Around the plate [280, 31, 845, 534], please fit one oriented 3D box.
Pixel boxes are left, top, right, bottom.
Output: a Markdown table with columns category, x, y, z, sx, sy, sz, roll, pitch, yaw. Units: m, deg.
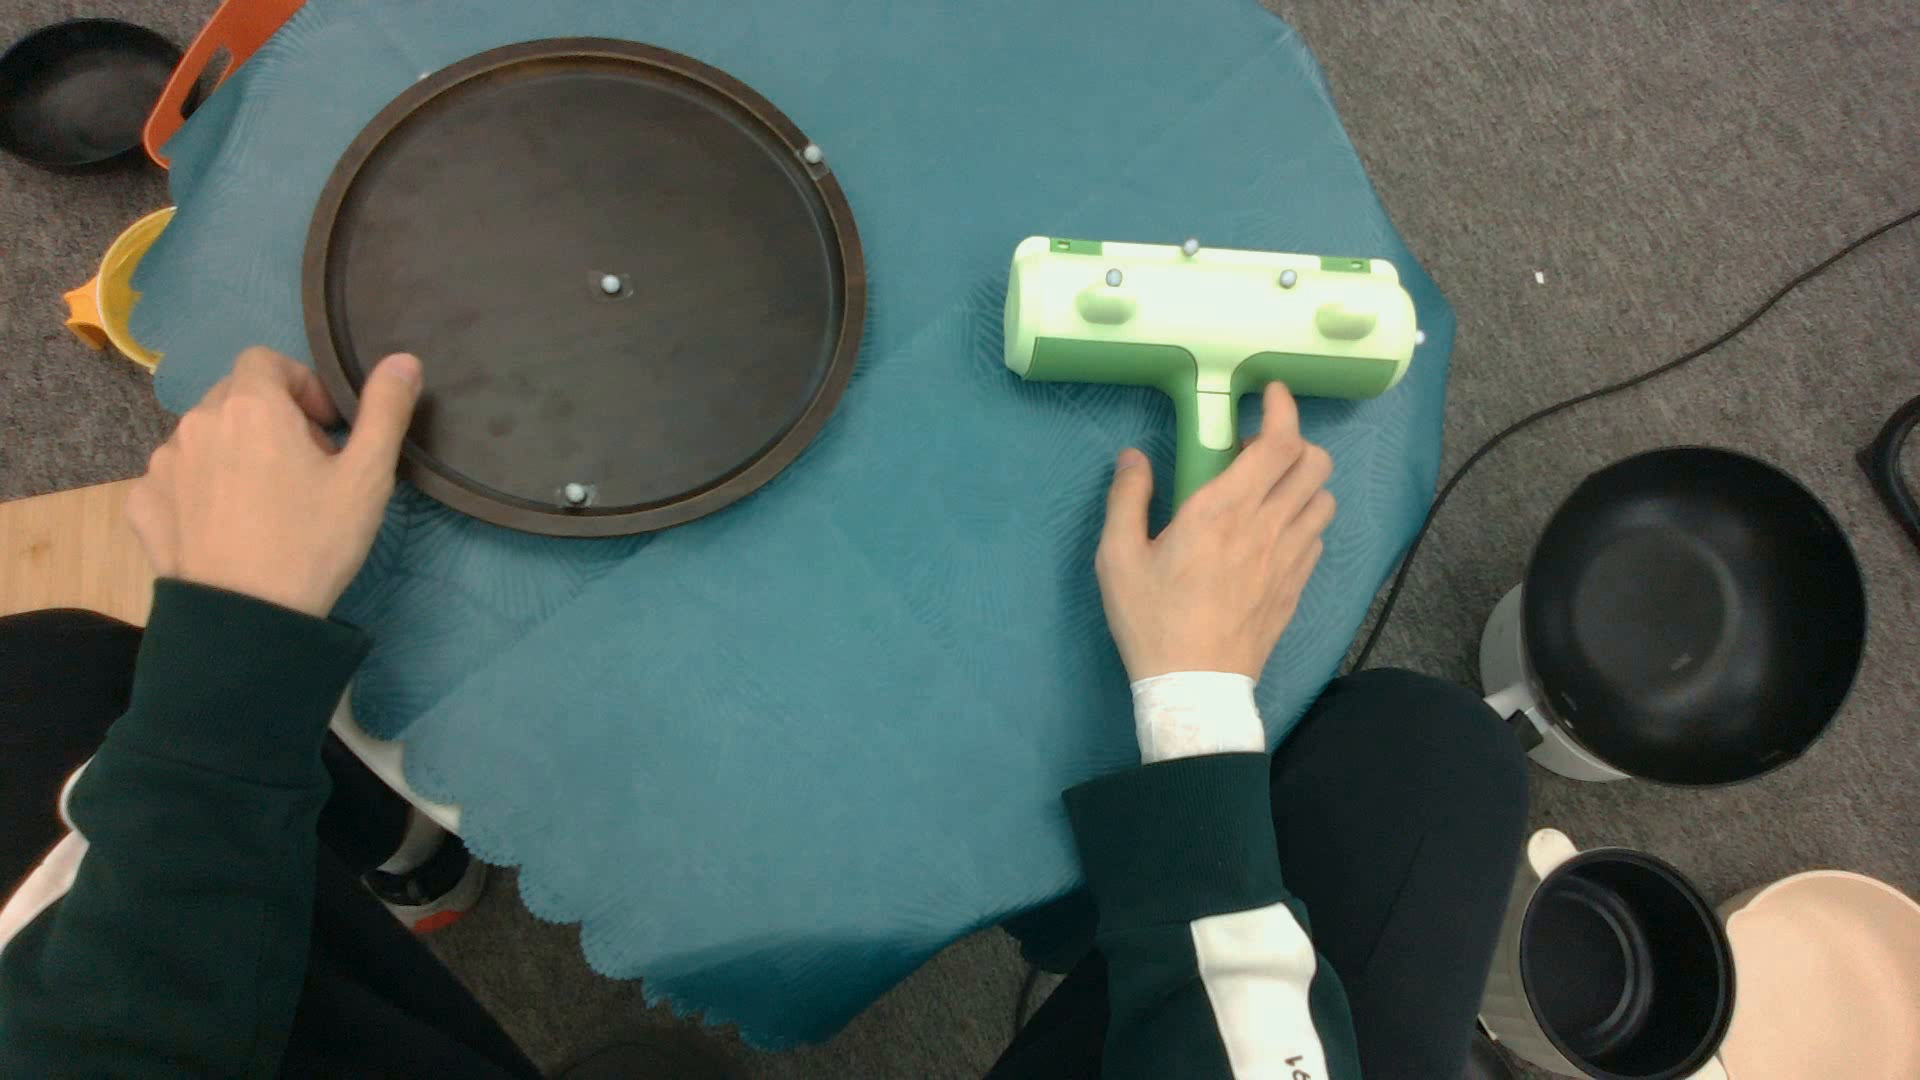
| category | x | y | z | sx | sy | sz | roll | pitch | yaw |
| --- | --- | --- | --- | --- | --- | --- | --- | --- | --- |
| plate | -0.181 | -0.123 | 0.645 | 0.255 | 0.029 | 0.255 | 3 | 73 | -10 |

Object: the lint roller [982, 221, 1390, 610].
| category | x | y | z | sx | sy | sz | roll | pitch | yaw |
| --- | --- | --- | --- | --- | --- | --- | --- | --- | --- |
| lint roller | 0.113 | -0.064 | 0.650 | 0.199 | 0.082 | 0.184 | 2 | 71 | -10 |
